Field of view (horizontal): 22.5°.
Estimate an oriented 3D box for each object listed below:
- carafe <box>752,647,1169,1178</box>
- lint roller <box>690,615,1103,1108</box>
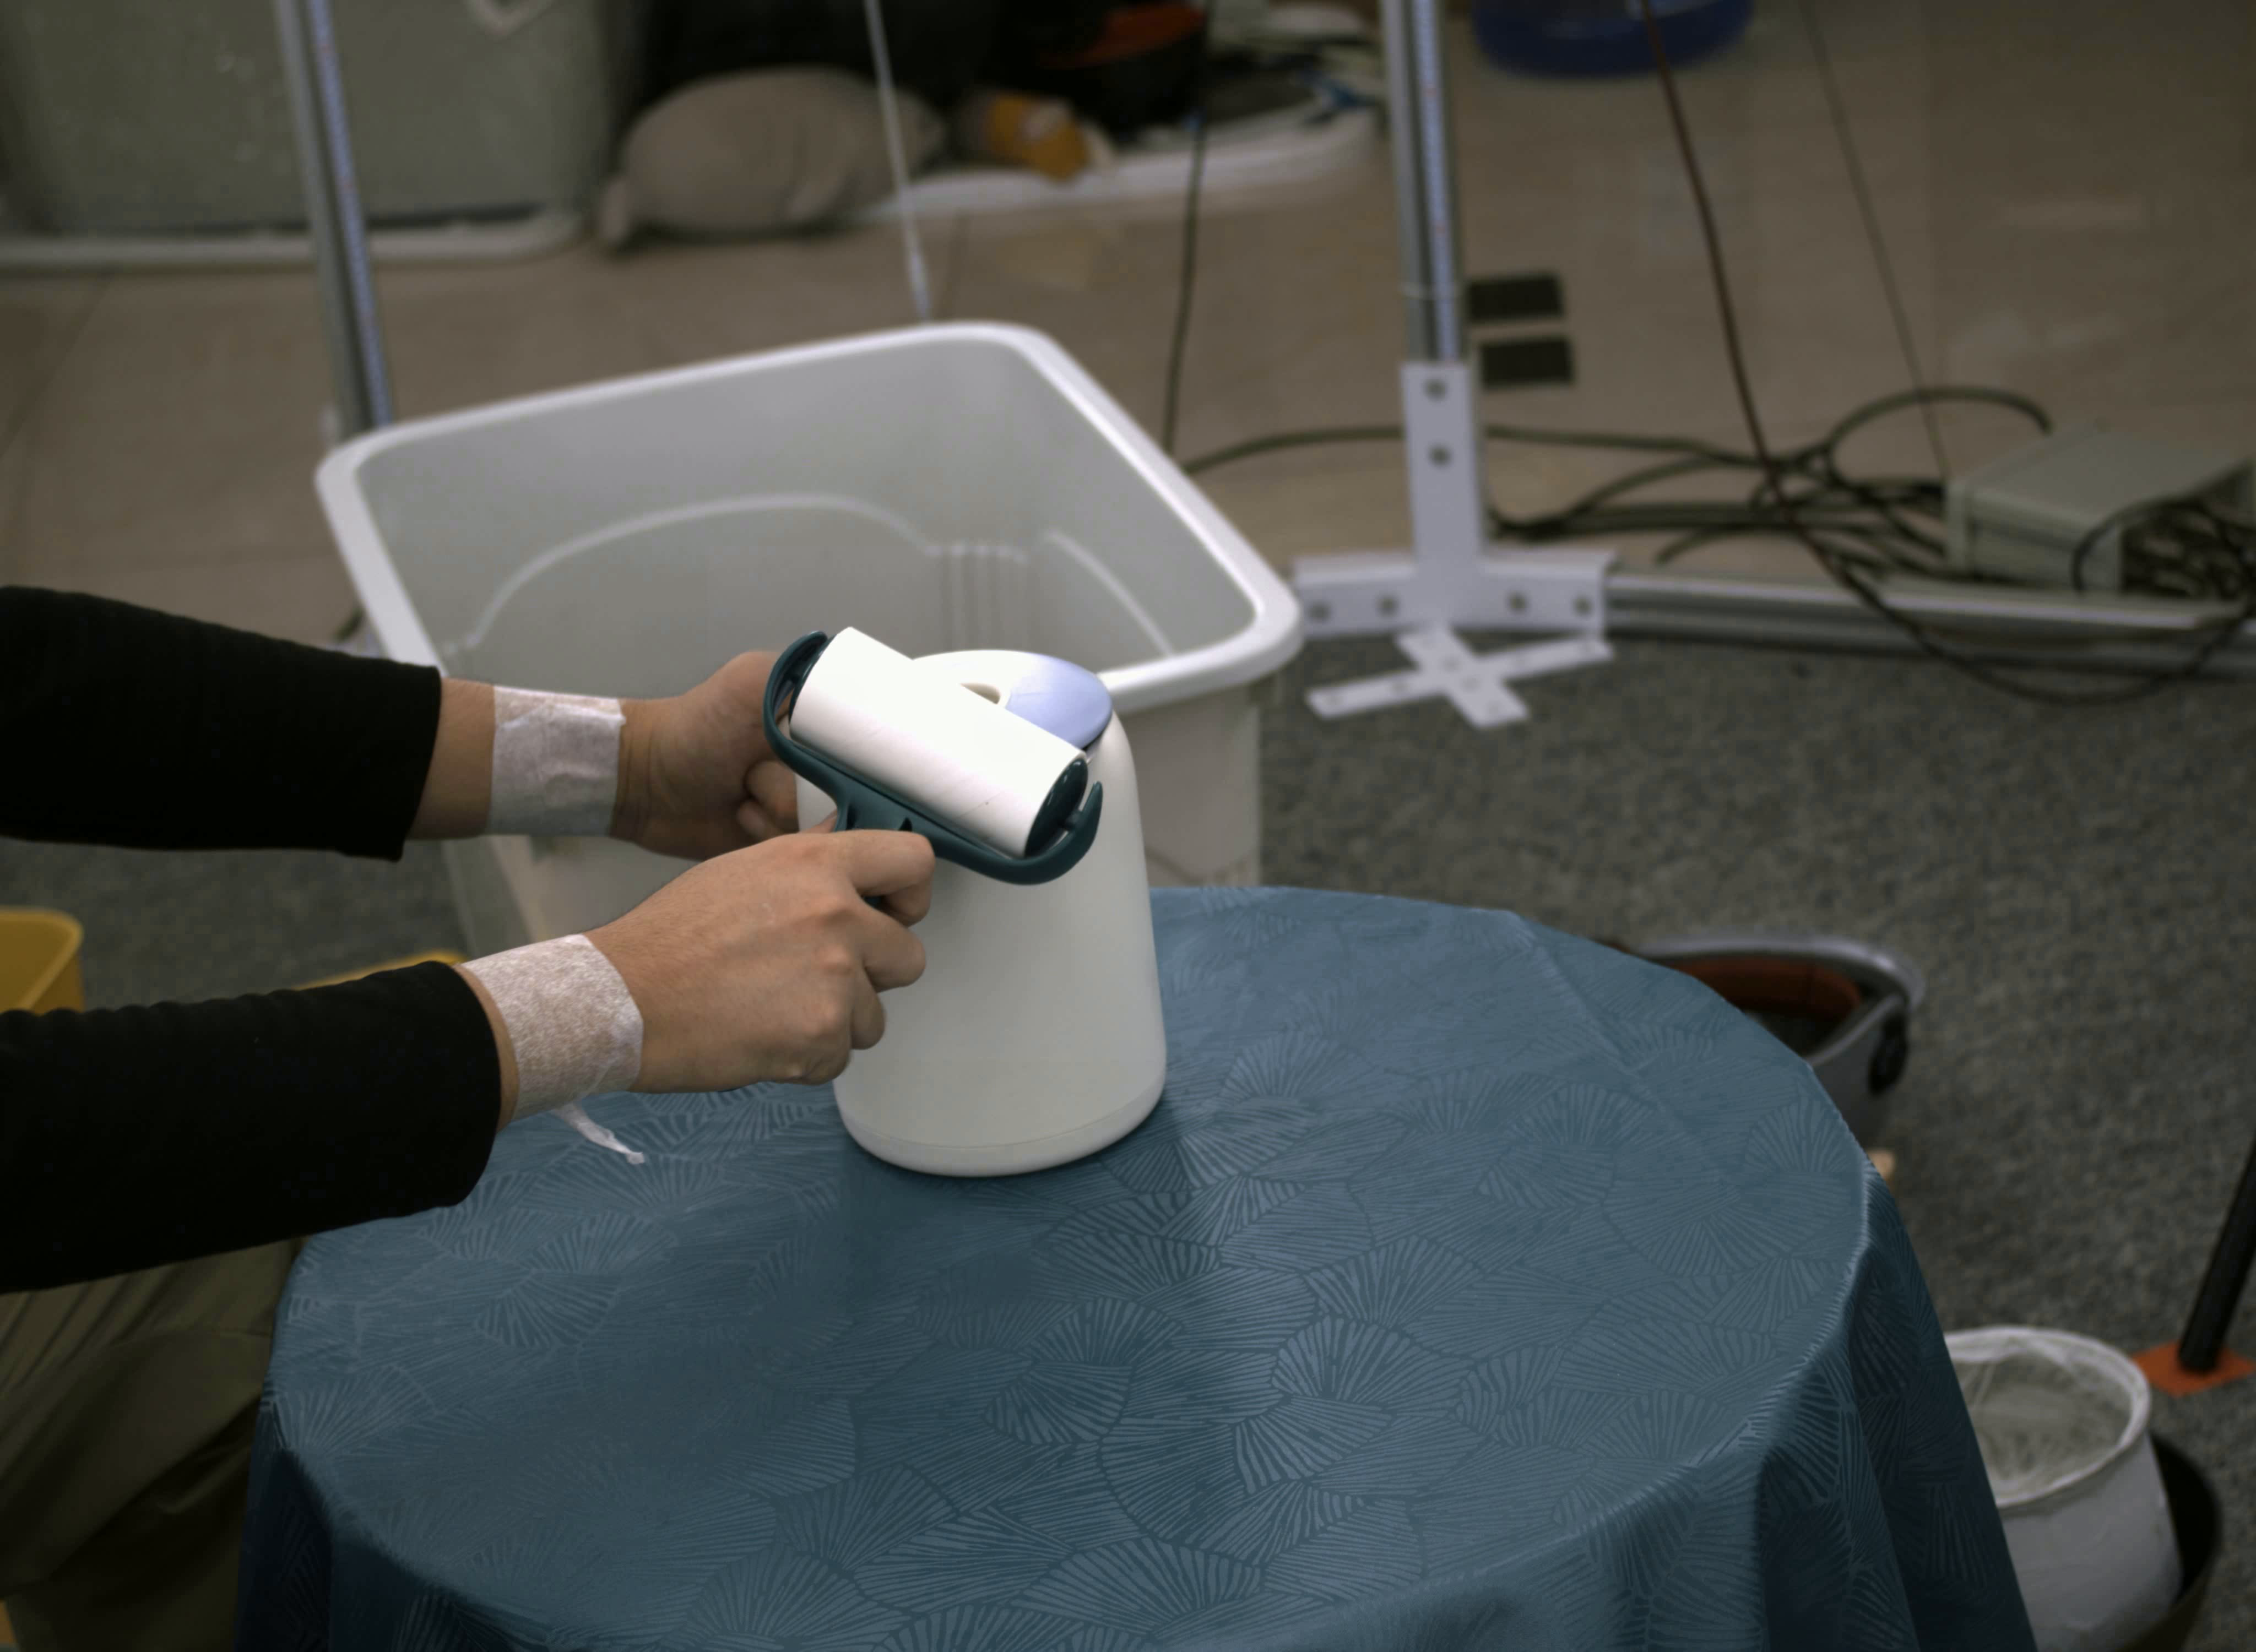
[{"bbox_3d":[-0.074,0.028,2.198,0.190,0.185,0.131,15,32,41],"label":"carafe"},{"bbox_3d":[-0.103,0.021,2.023,0.133,0.049,0.178,29,63,12],"label":"lint roller"}]
